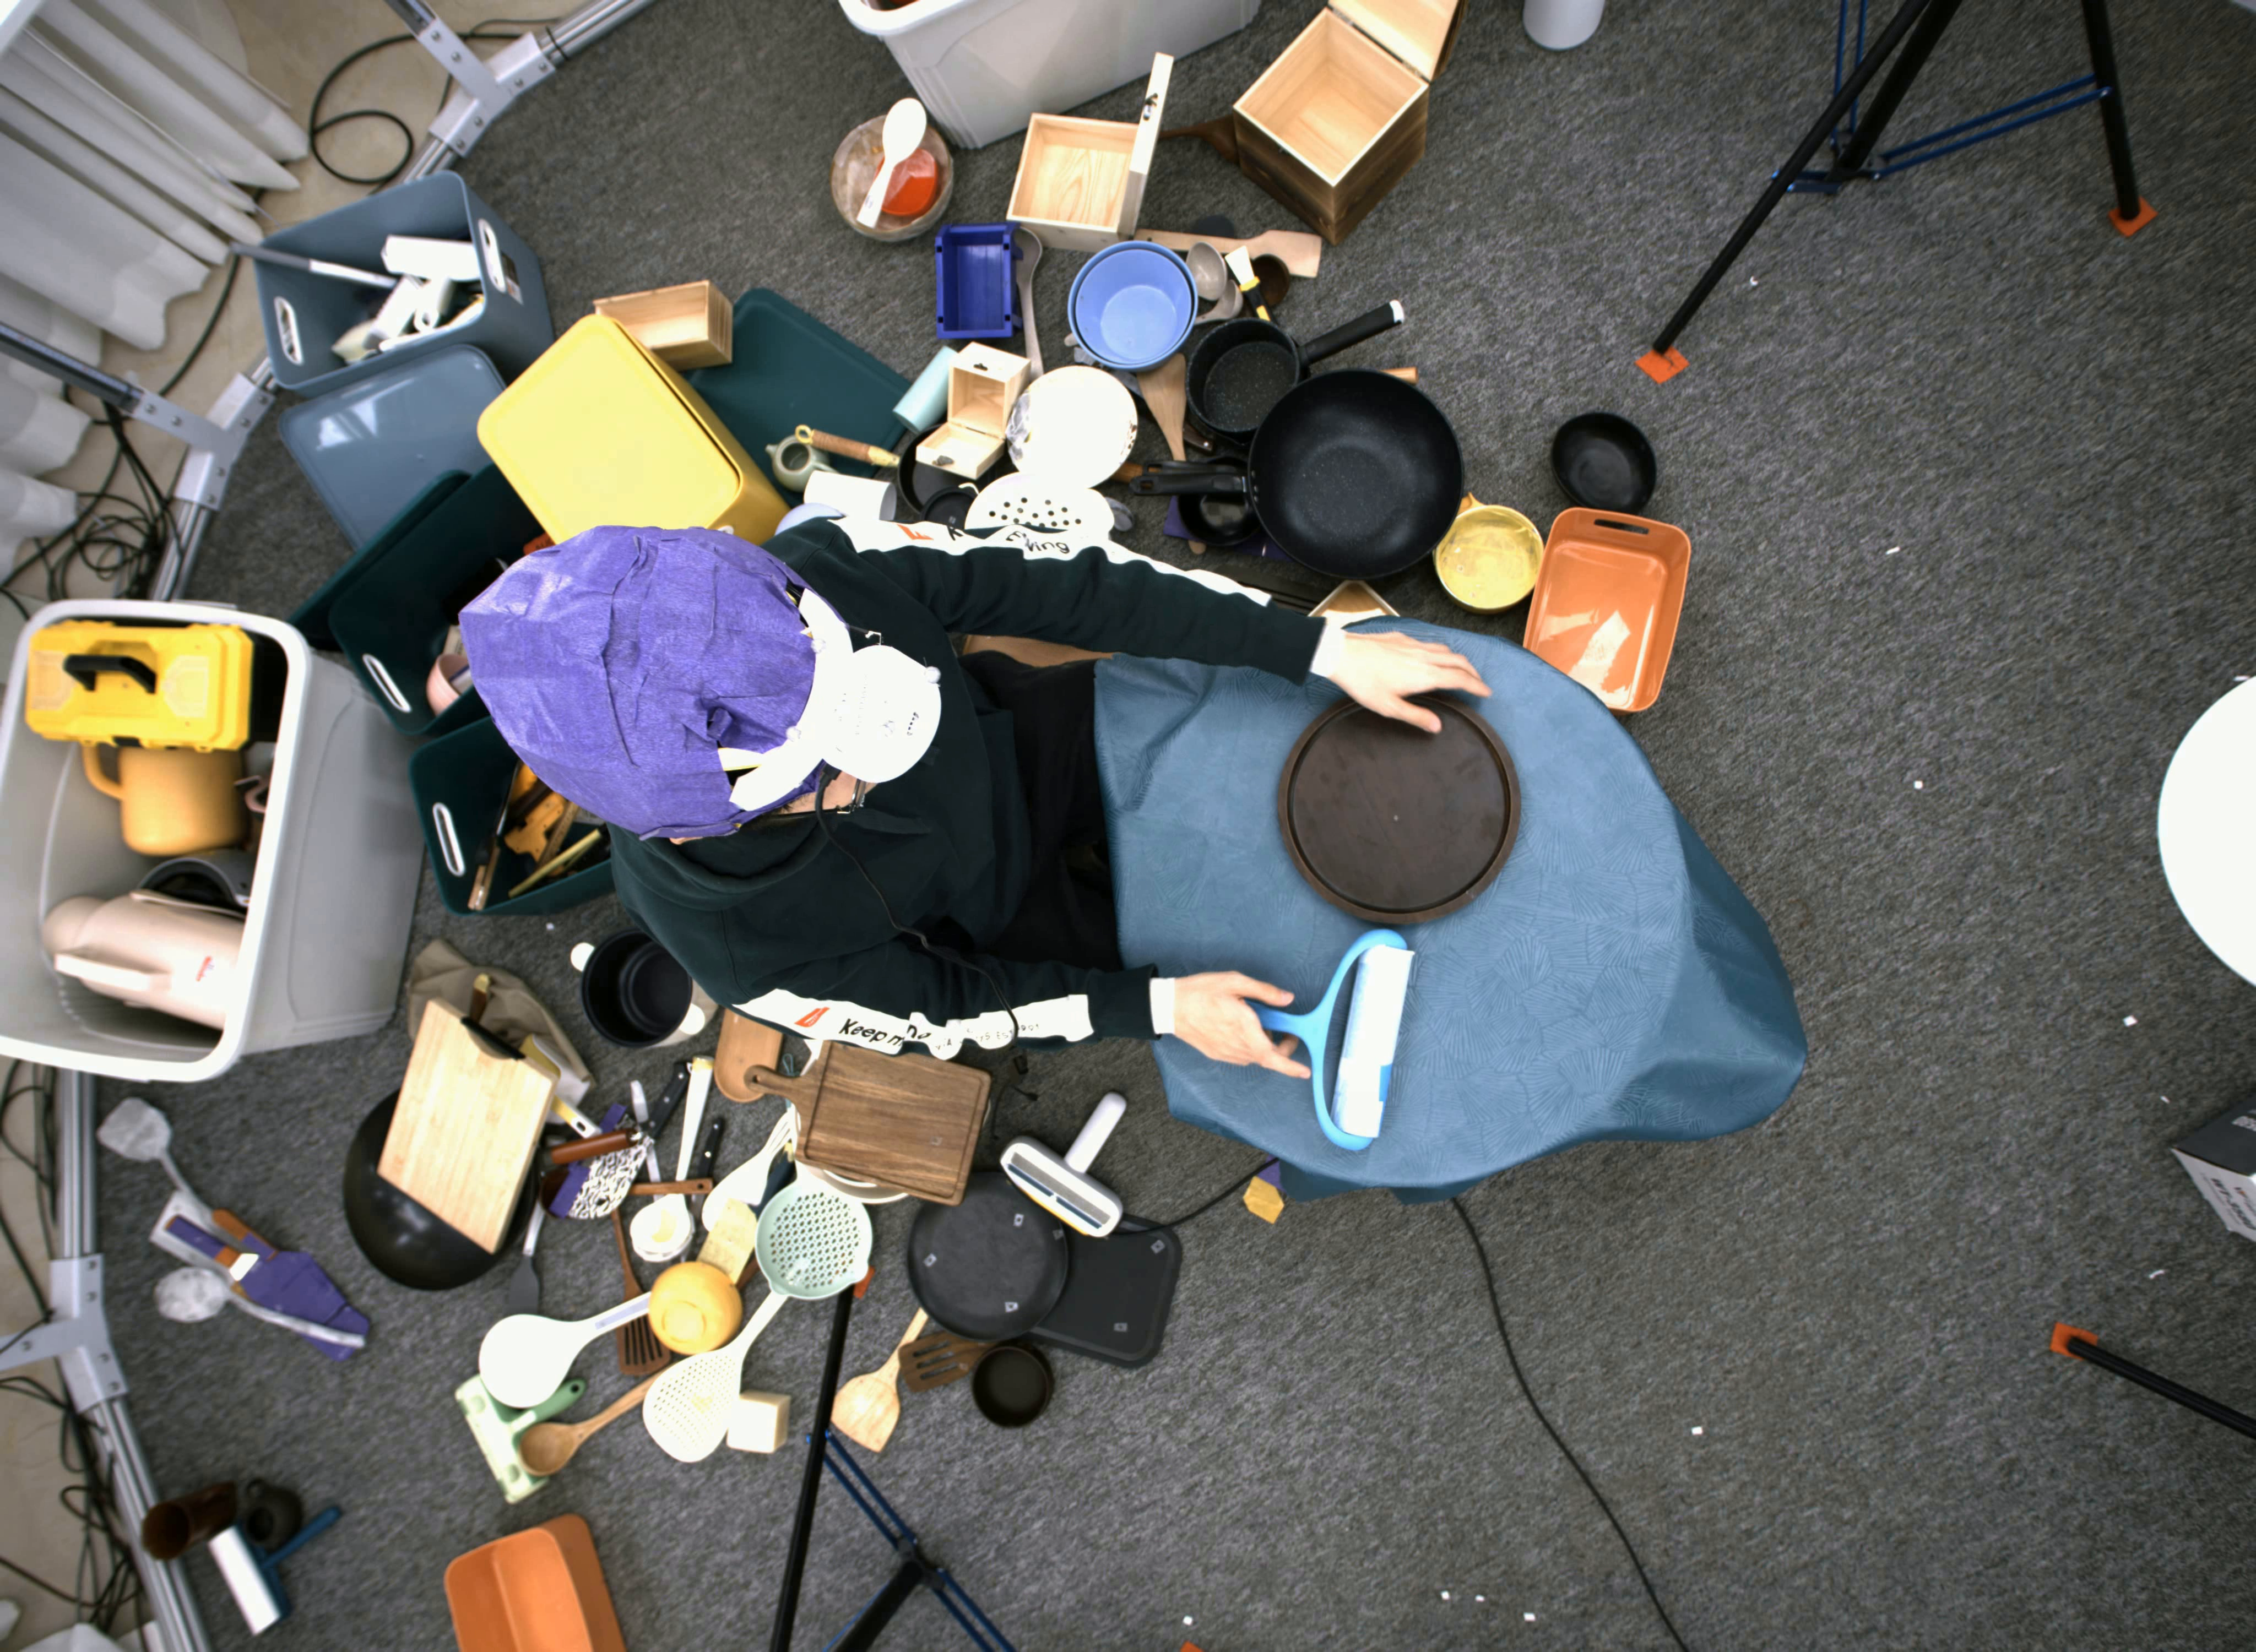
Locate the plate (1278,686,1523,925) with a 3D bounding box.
[{"bbox_3d":[0.284,-0.024,1.446,0.256,0.029,0.254,-1,87,9],"label":"plate"}]

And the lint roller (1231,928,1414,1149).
[{"bbox_3d":[0.193,0.210,1.433,0.181,0.068,0.228,8,90,9],"label":"lint roller"}]
